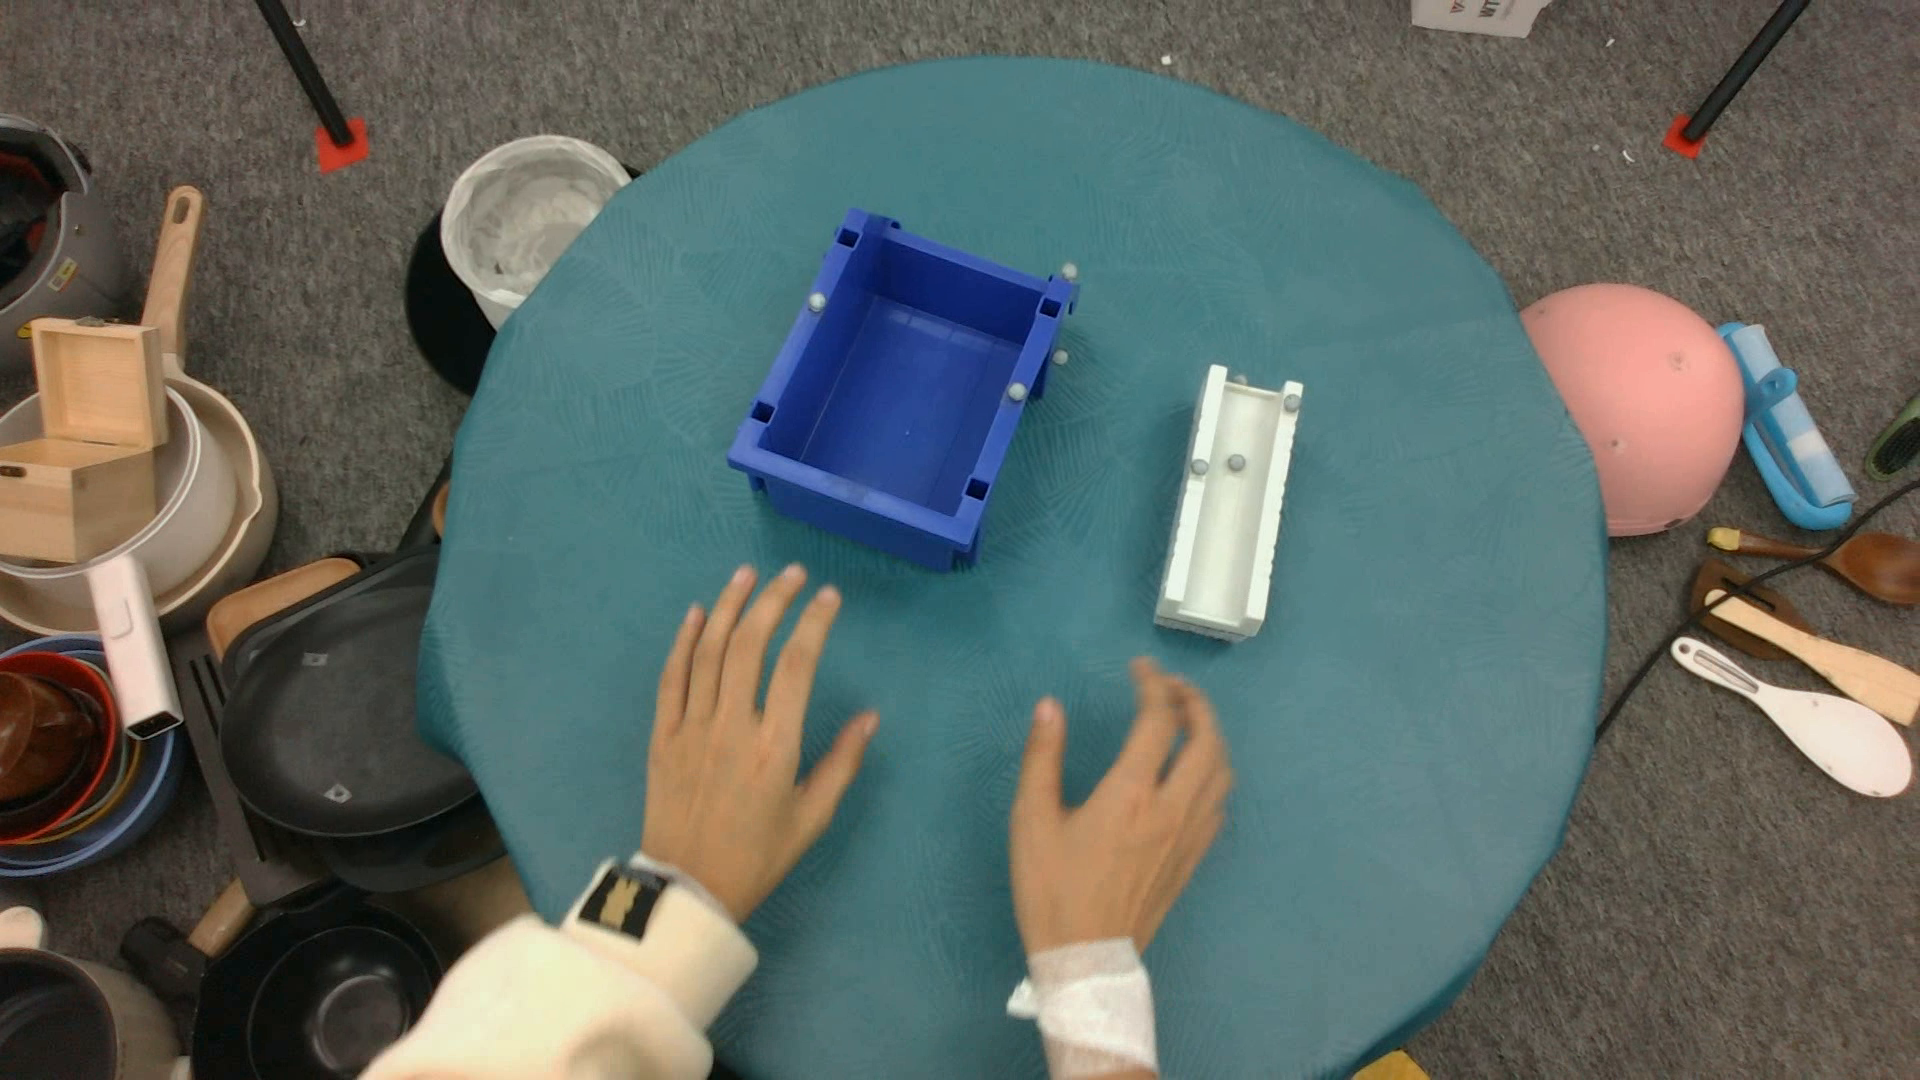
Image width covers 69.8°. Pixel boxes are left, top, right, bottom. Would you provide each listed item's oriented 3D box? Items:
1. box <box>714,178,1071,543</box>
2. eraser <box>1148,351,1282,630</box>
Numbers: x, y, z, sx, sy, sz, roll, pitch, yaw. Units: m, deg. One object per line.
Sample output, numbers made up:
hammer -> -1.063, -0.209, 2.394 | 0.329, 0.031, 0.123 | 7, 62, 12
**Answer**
box -> -0.030, -0.096, 0.698 | 0.124, 0.081, 0.180 | 21, 70, 5
eraser -> 0.128, -0.025, 0.697 | 0.050, 0.046, 0.135 | 12, 66, 0
